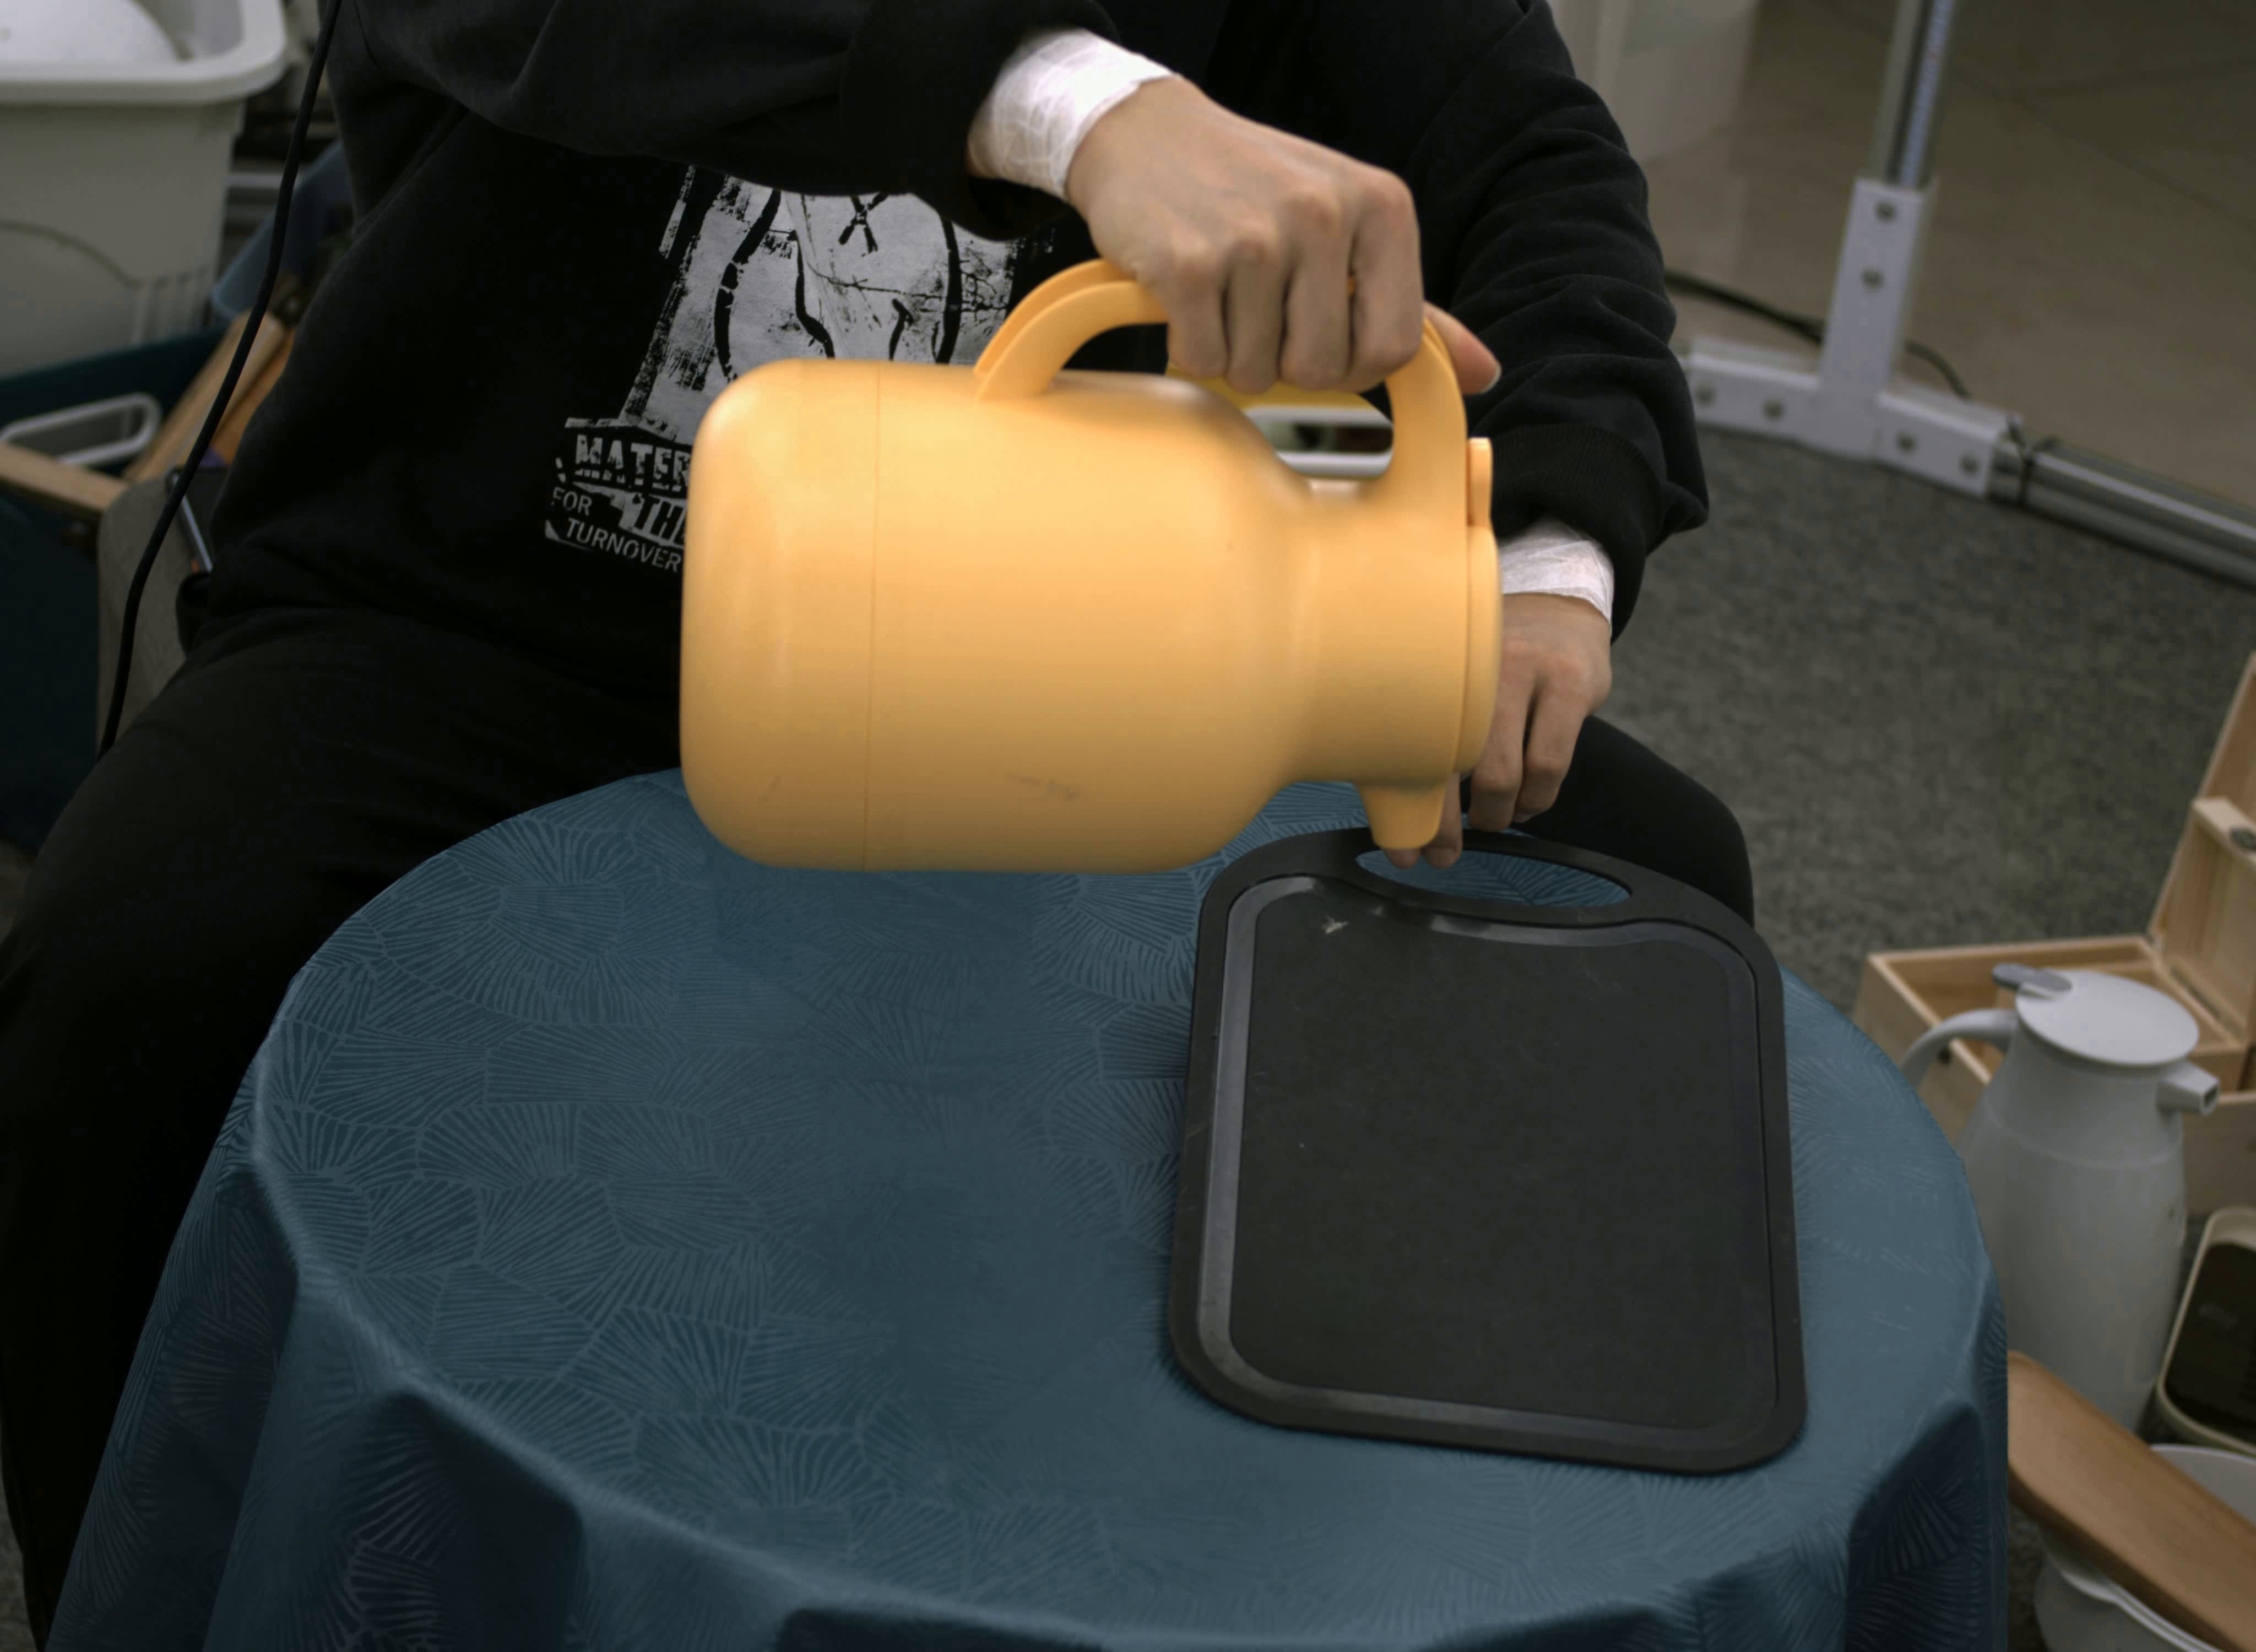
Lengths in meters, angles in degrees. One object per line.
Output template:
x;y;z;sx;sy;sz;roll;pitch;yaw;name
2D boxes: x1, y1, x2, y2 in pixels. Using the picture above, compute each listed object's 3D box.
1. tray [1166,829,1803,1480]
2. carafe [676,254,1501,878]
0.123;0.100;1.812;0.210;0.010;0.327;7;37;0;tray
-0.011;-0.083;1.691;0.259;0.202;0.164;2;21;-5;carafe
